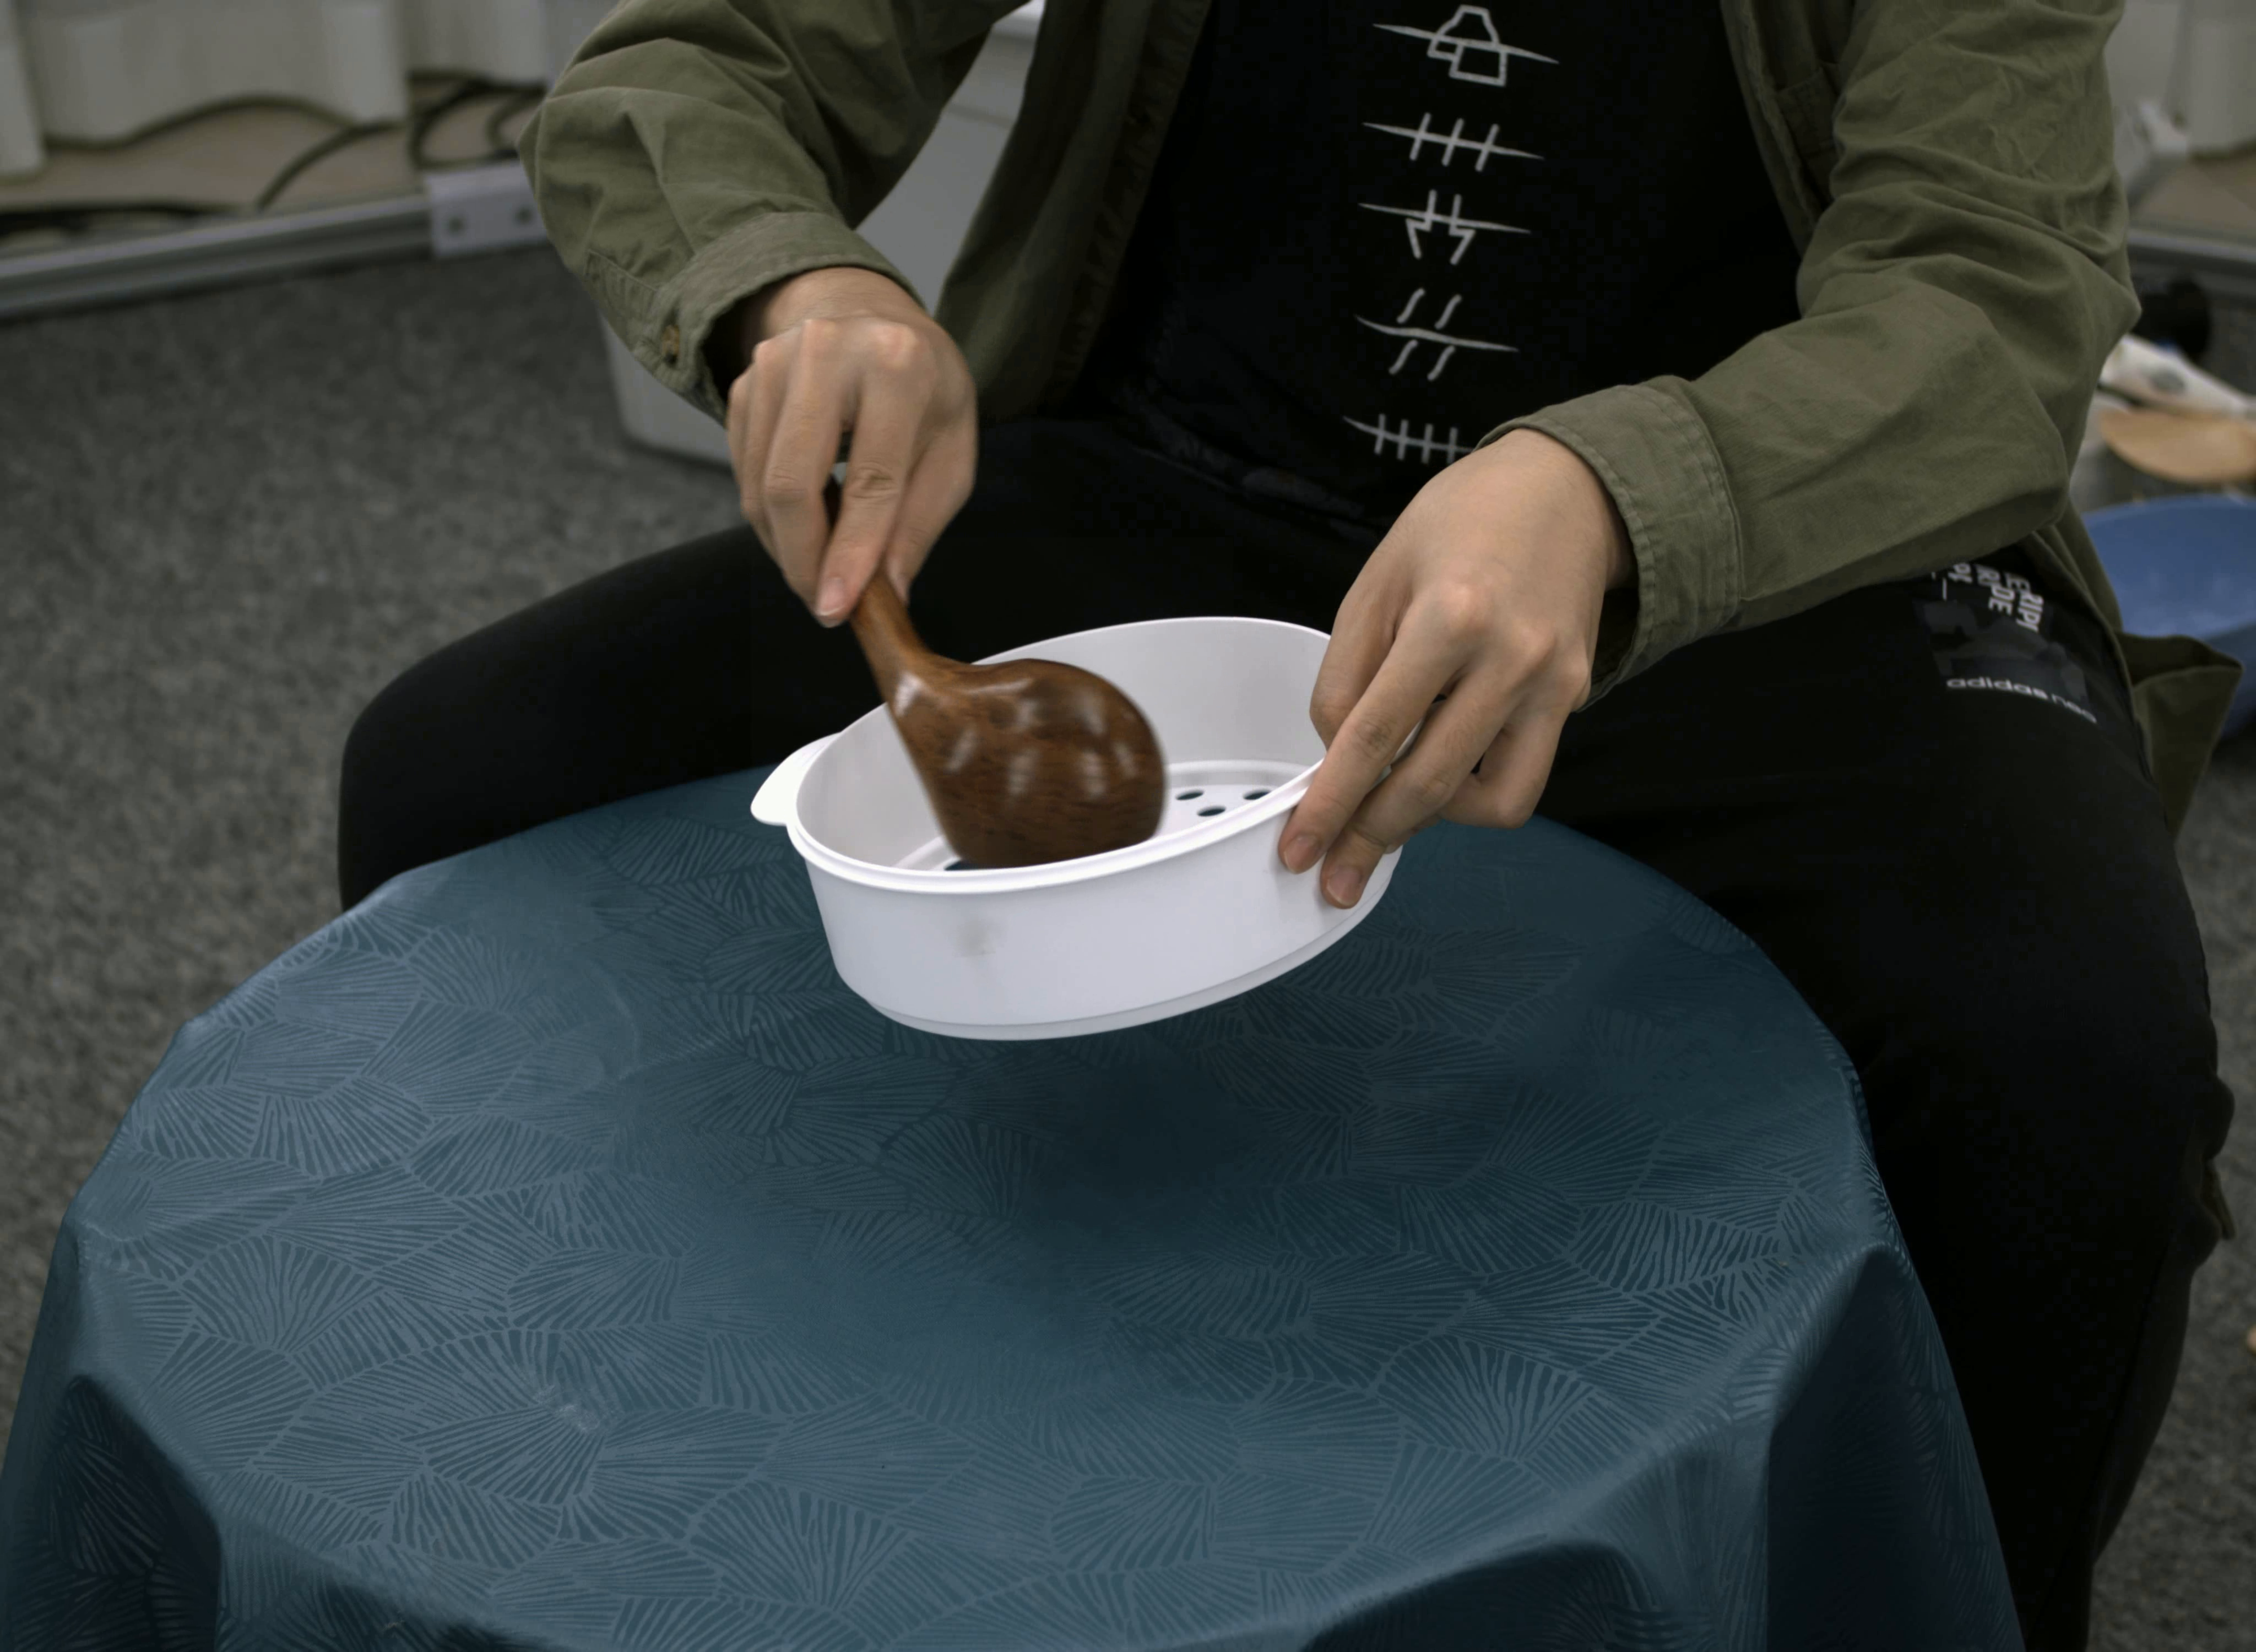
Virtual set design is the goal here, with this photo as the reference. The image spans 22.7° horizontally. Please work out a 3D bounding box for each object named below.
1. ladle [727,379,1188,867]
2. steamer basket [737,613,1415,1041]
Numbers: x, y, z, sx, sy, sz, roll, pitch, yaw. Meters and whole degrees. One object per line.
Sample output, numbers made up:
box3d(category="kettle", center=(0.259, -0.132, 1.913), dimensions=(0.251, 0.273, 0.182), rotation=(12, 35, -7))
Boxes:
box3d(category="ladle", center=(-0.058, -0.072, 1.885), dimensions=(0.076, 0.081, 0.277), rotation=(18, 23, -32))
box3d(category="steamer basket", center=(-0.013, 0.001, 1.849), dimensions=(0.228, 0.068, 0.205), rotation=(-4, 24, 20))
